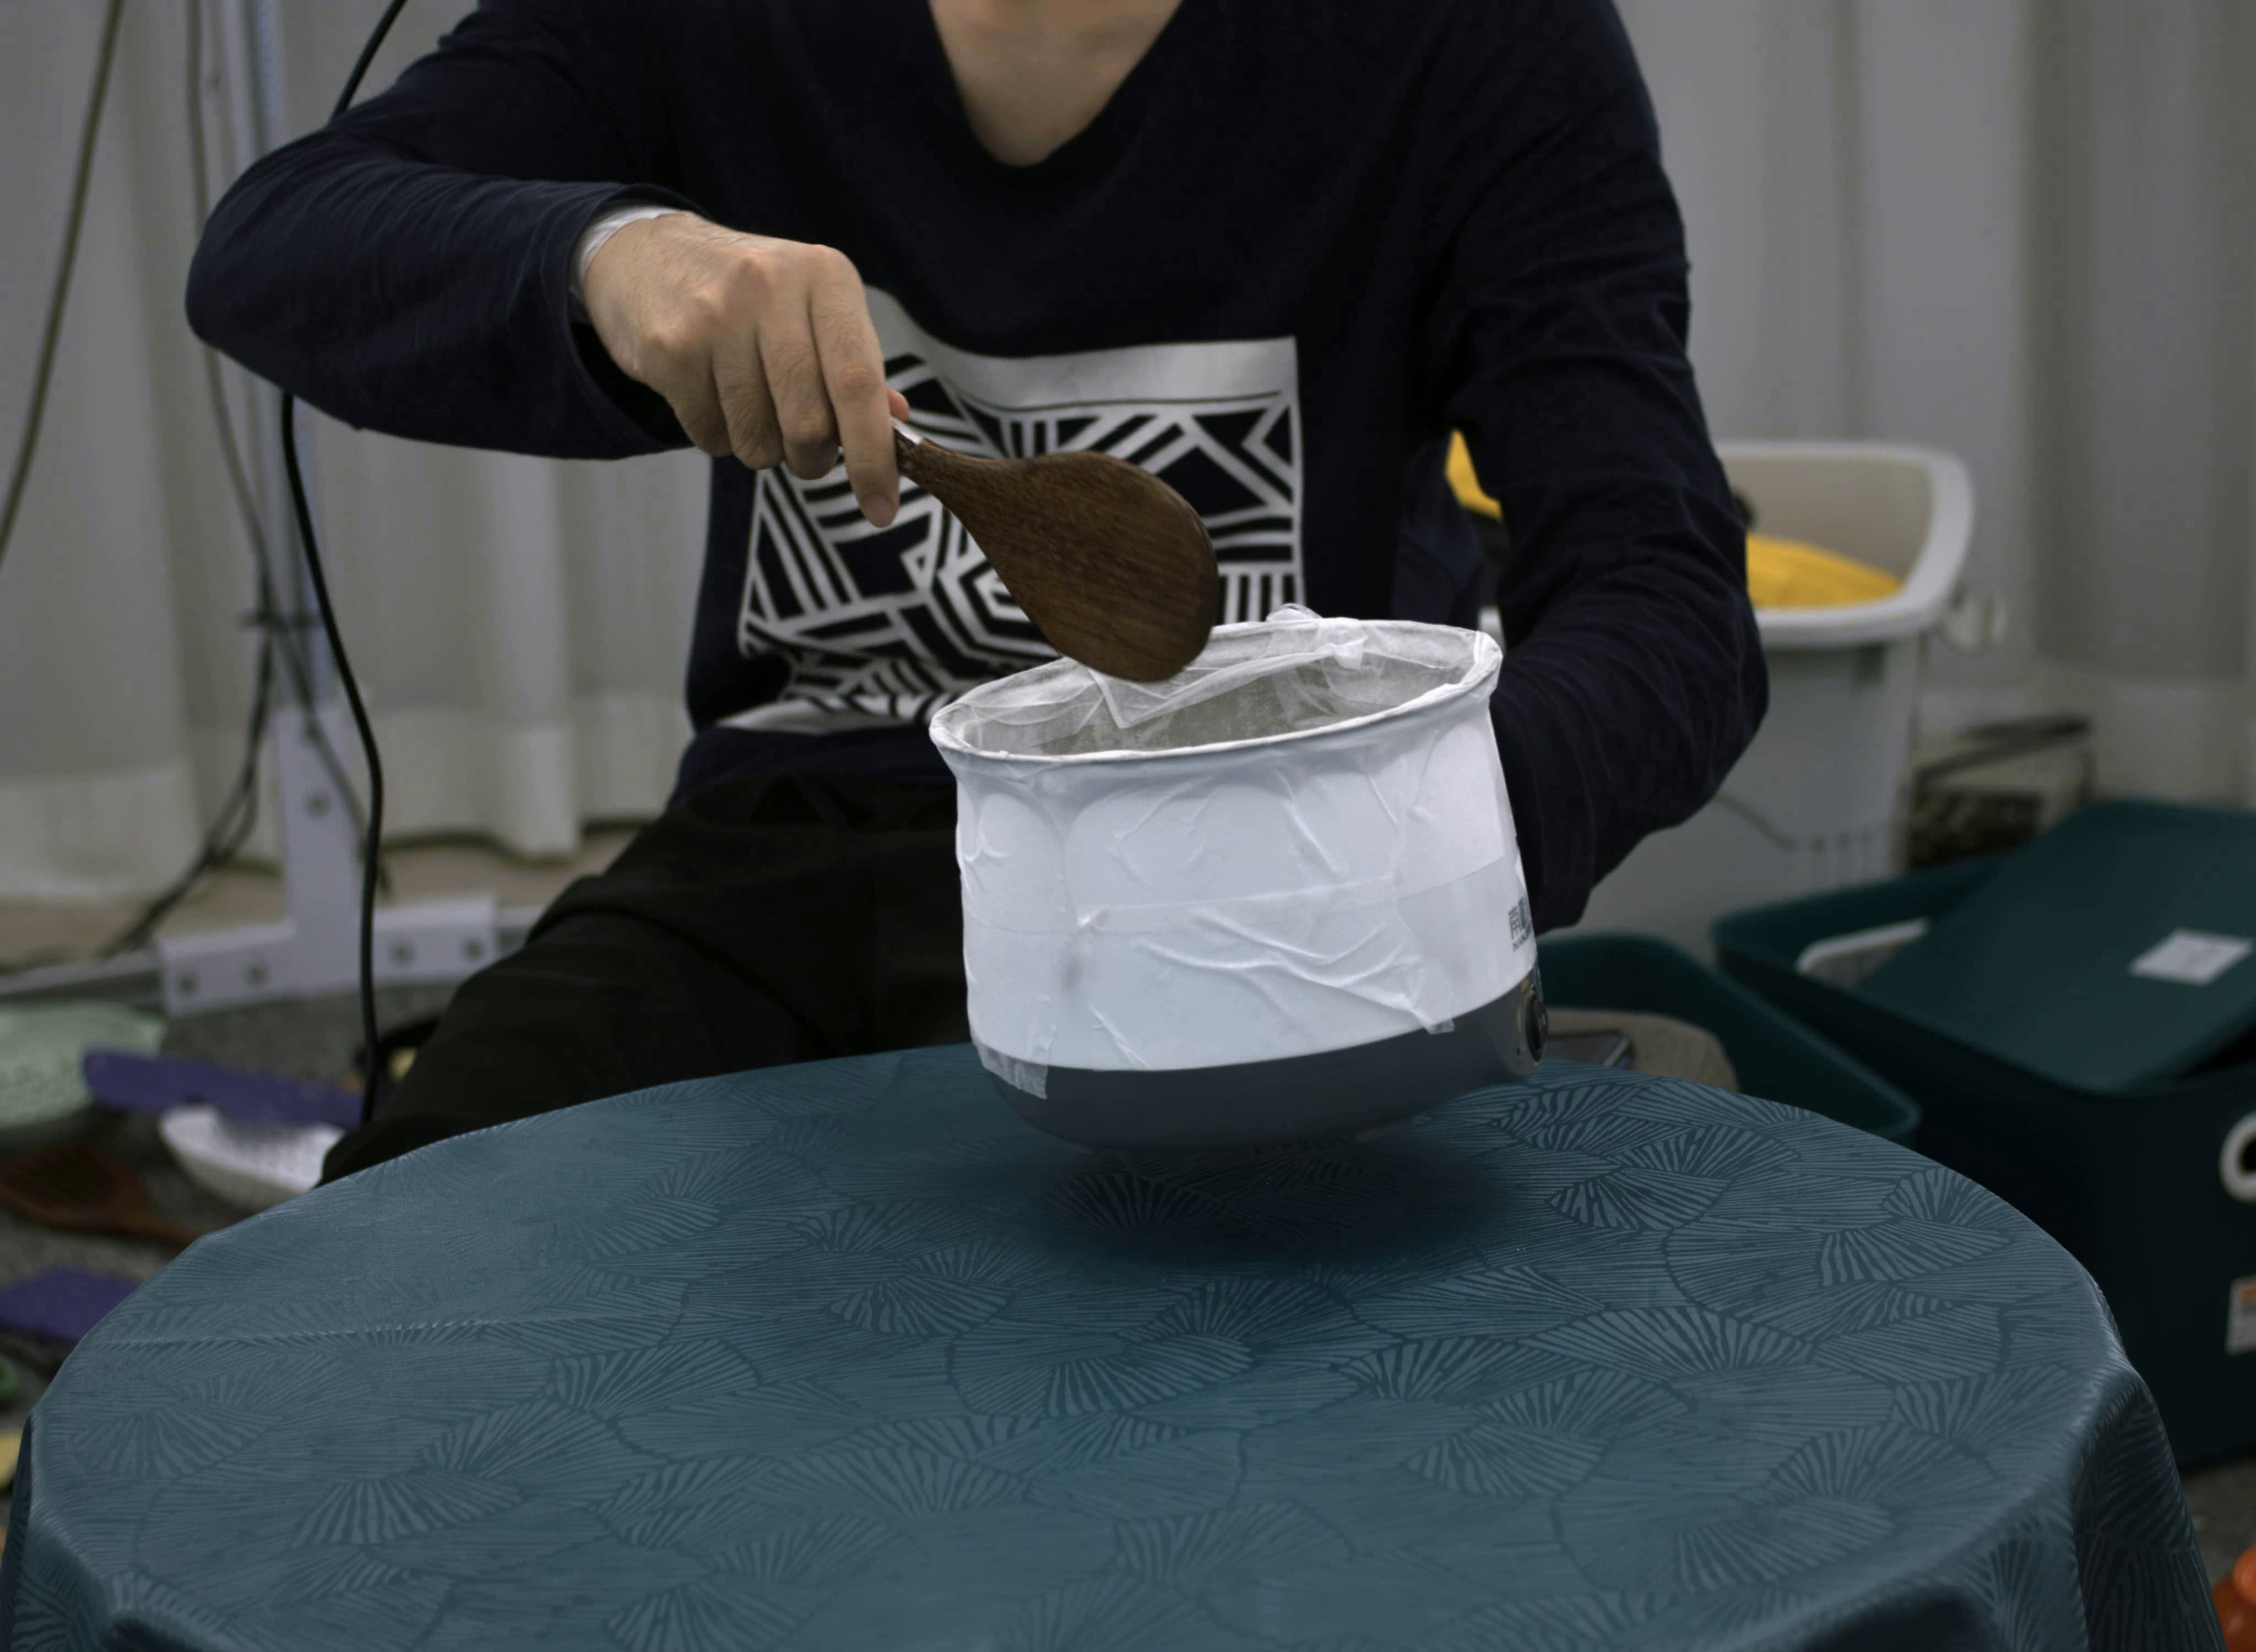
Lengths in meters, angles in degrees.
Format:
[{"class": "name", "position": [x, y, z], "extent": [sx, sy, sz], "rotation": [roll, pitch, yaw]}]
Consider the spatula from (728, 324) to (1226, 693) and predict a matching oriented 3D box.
[{"class": "spatula", "position": [-0.051, -0.111, 1.744], "extent": [0.217, 0.071, 0.009], "rotation": [32, 34, 31]}]

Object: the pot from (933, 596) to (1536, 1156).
[{"class": "pot", "position": [0.040, 0.011, 1.713], "extent": [0.178, 0.136, 0.235], "rotation": [-2, 14, 14]}]
